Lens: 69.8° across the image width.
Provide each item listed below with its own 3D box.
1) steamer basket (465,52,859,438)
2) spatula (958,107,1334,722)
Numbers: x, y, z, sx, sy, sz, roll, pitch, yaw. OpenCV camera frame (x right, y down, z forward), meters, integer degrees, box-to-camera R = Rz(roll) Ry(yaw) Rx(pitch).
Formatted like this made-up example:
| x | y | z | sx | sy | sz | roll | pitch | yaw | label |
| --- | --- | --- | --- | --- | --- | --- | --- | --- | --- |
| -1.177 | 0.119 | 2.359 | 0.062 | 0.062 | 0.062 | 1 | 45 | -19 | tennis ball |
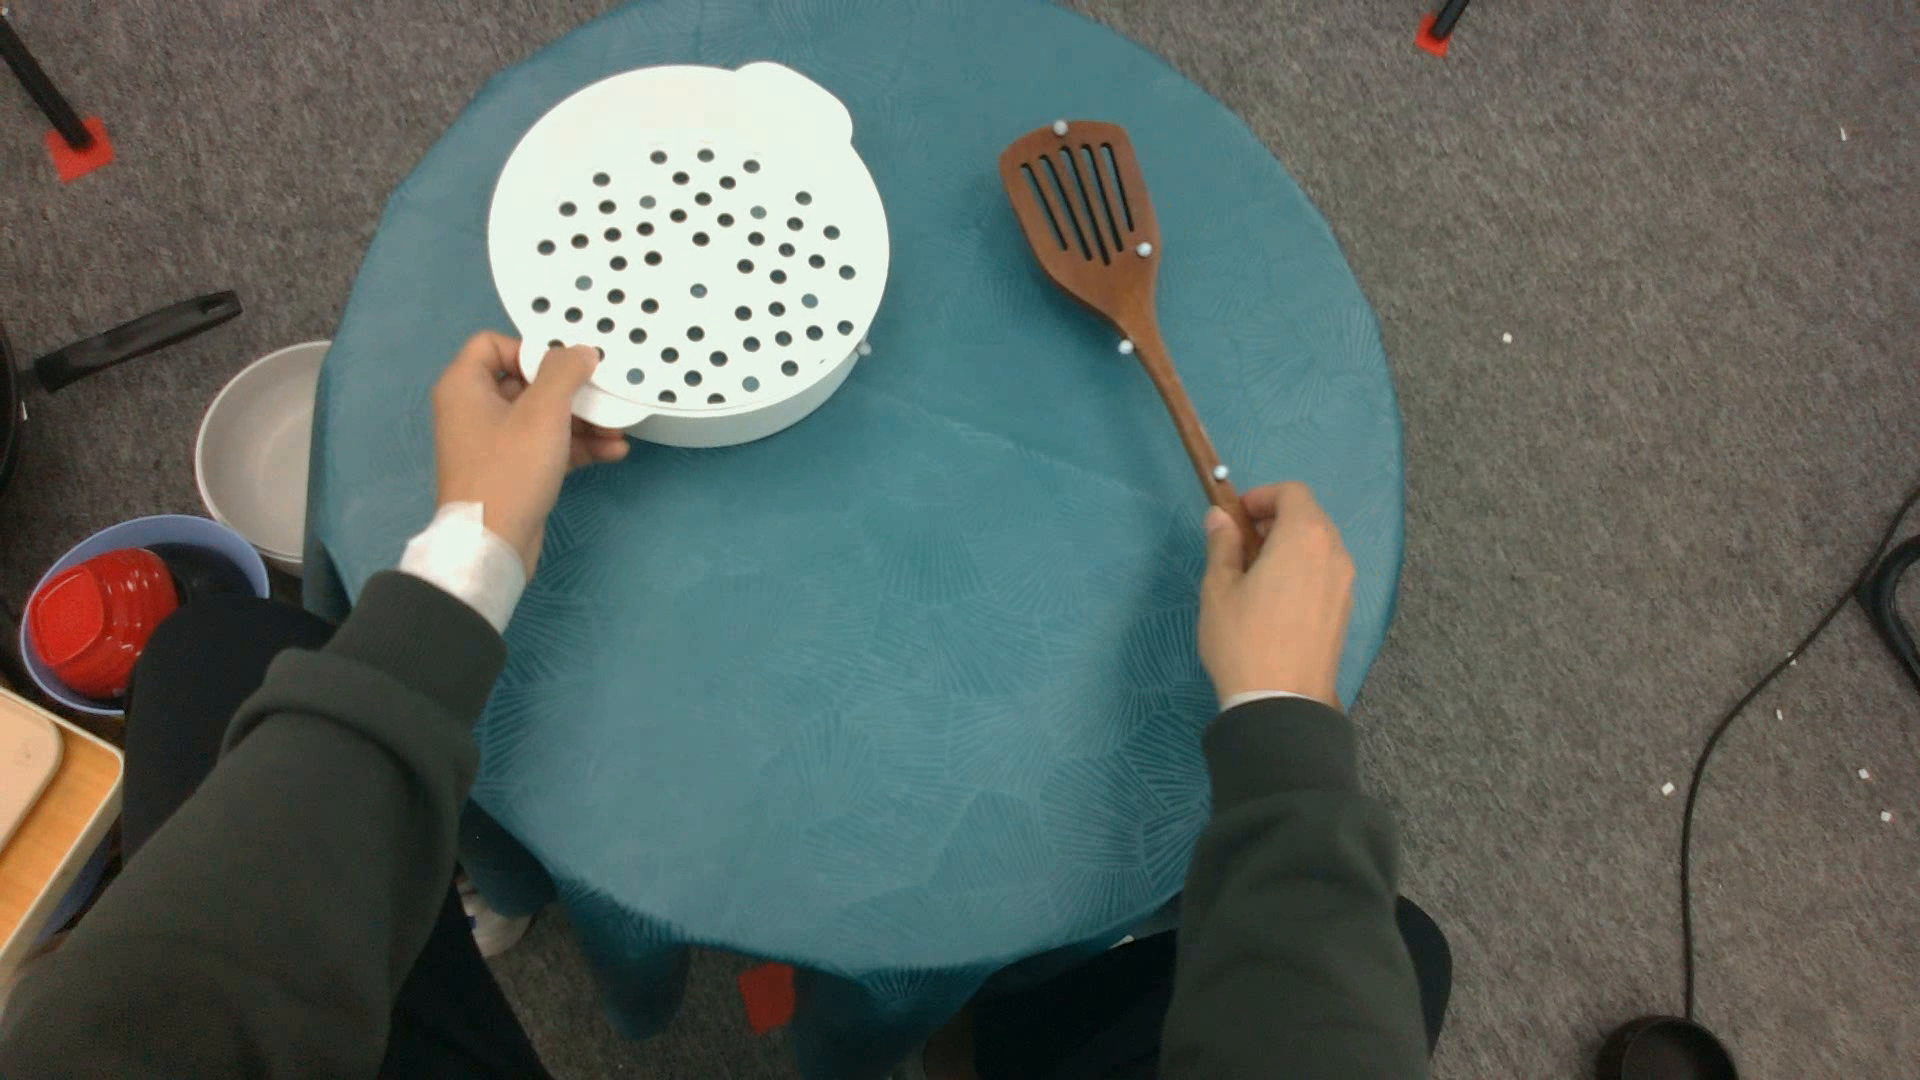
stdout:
| x | y | z | sx | sy | sz | roll | pitch | yaw | label |
| --- | --- | --- | --- | --- | --- | --- | --- | --- | --- |
| -0.156 | -0.154 | 0.743 | 0.202 | 0.069 | 0.231 | 29 | 73 | 3 | steamer basket |
| 0.109 | -0.077 | 0.759 | 0.086 | 0.023 | 0.386 | -20 | 74 | -18 | spatula |
